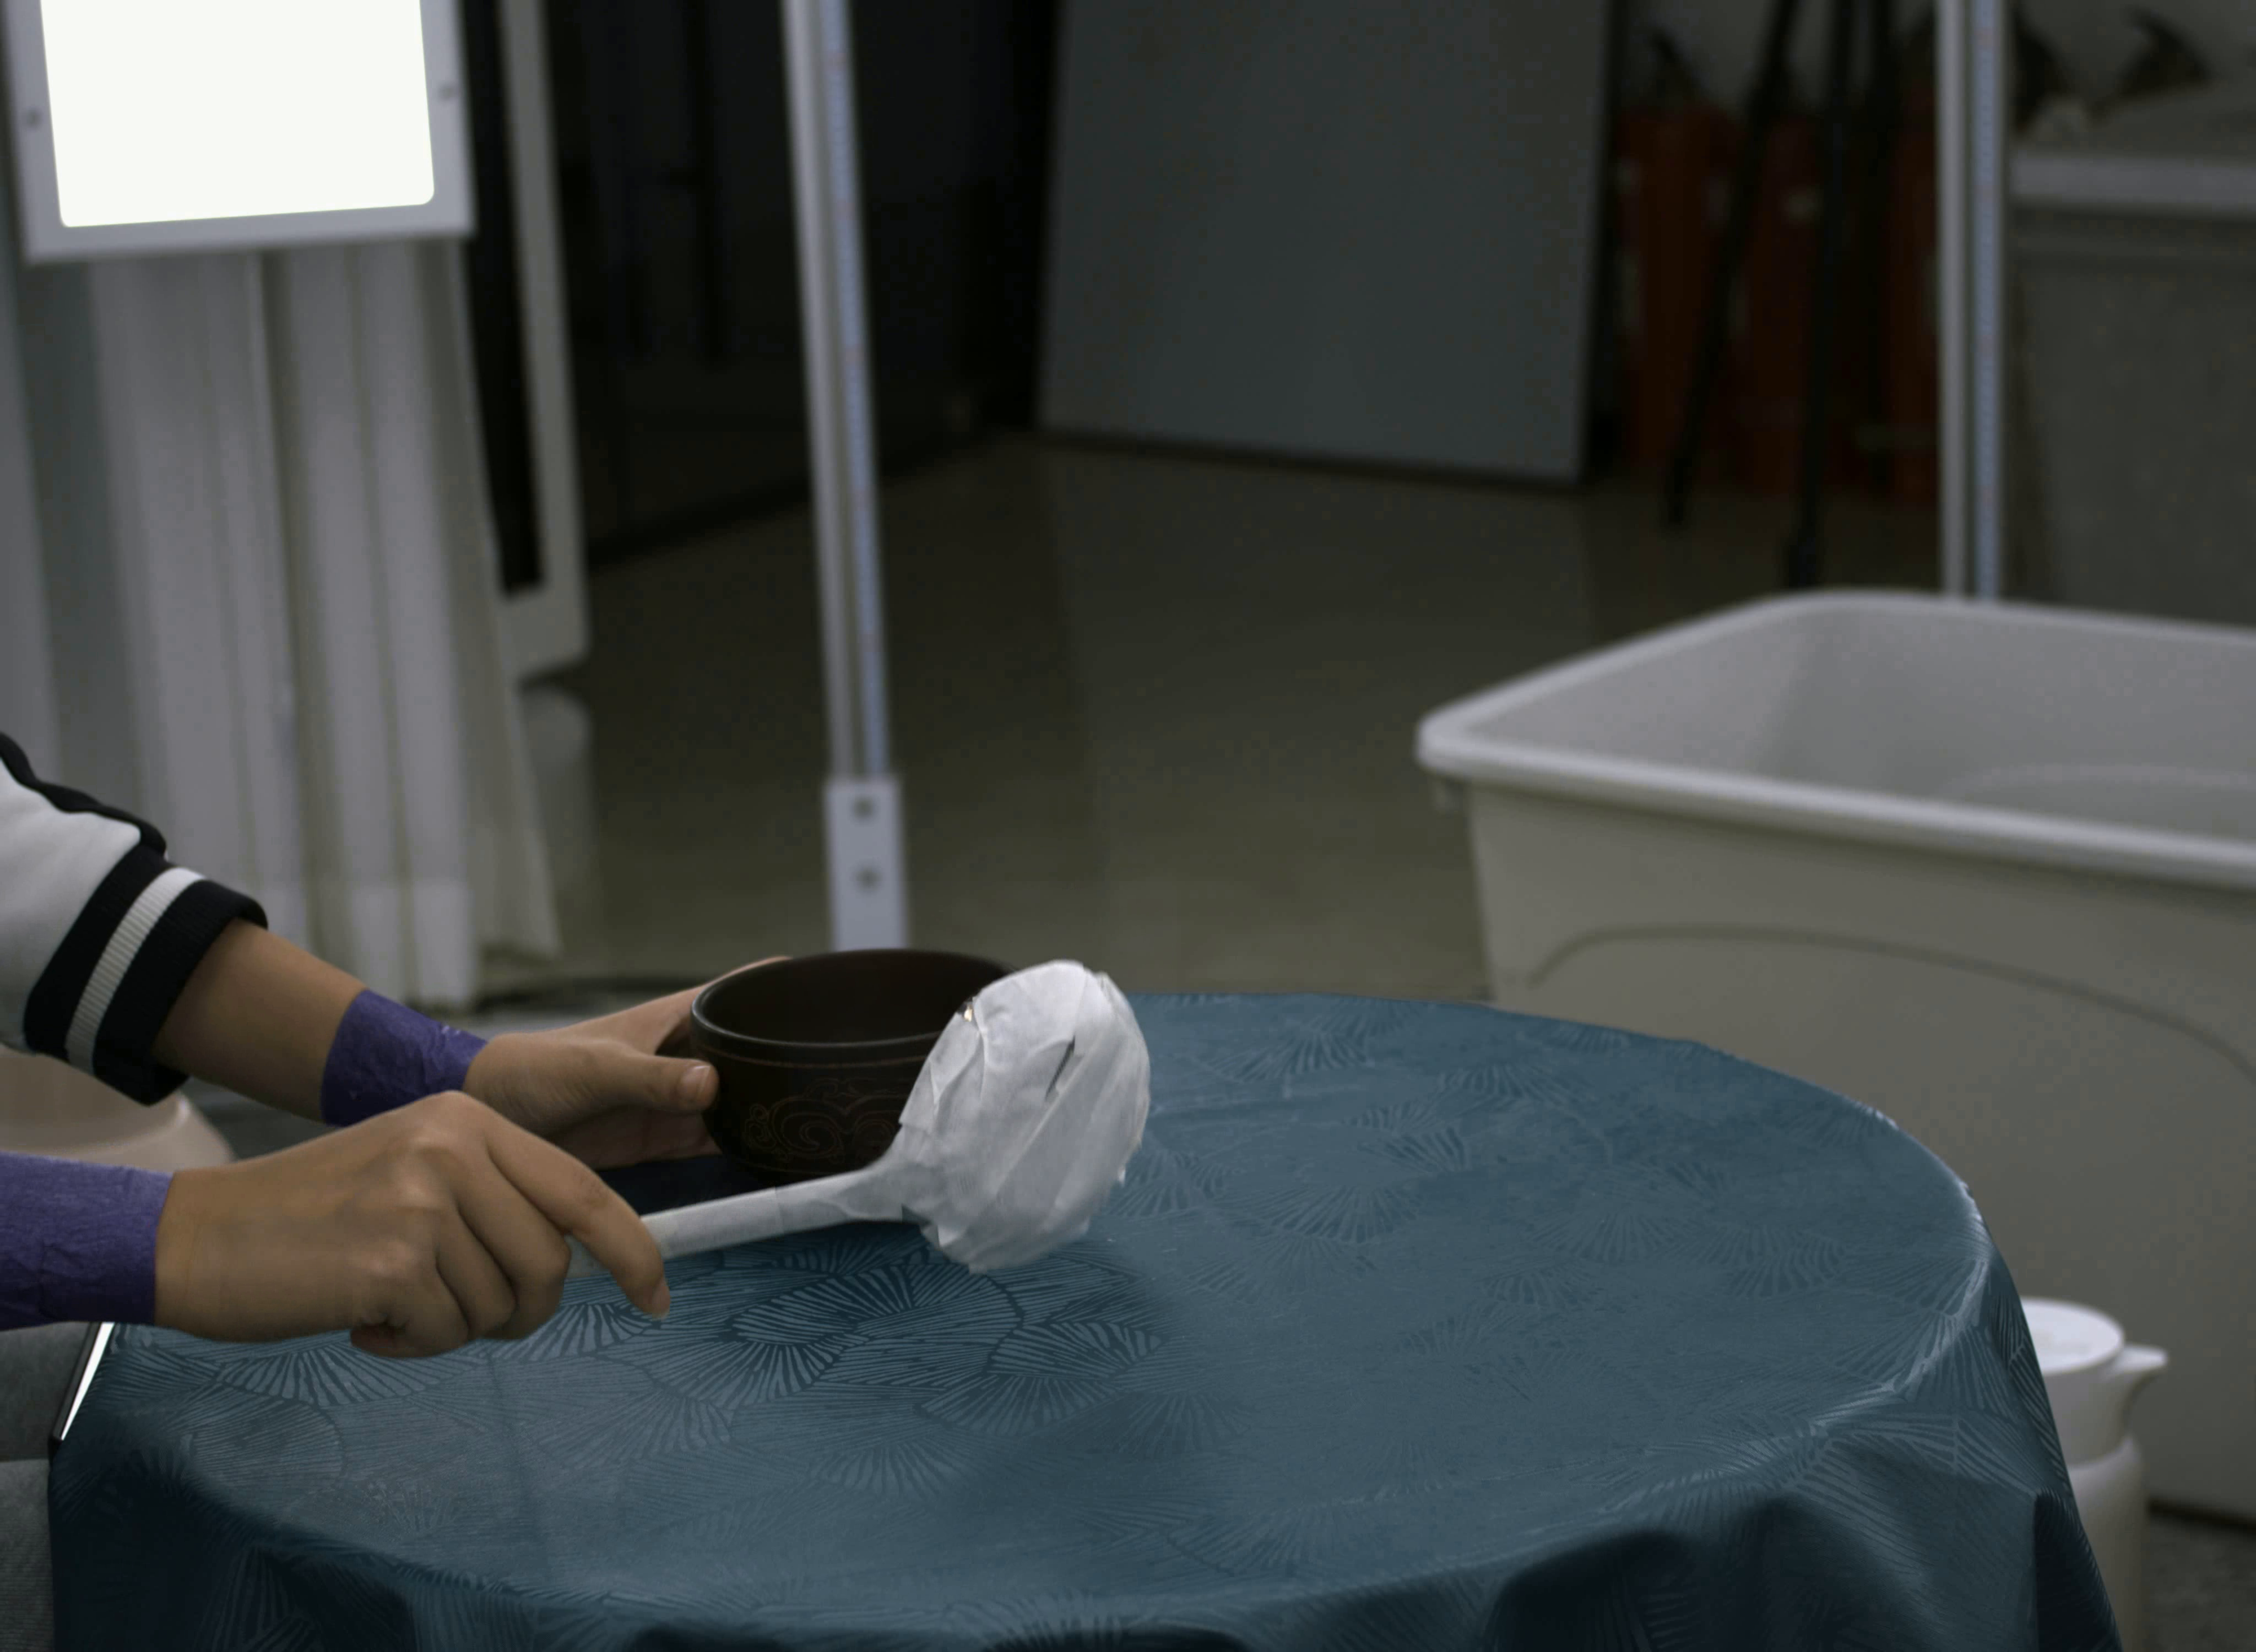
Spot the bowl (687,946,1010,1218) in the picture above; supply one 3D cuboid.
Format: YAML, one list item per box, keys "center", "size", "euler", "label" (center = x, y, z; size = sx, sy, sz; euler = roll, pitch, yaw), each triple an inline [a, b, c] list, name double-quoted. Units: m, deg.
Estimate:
- center: [-0.086, 0.088, 1.778]
  size: [0.116, 0.070, 0.118]
  euler: [-4, 13, 0]
  label: "bowl"

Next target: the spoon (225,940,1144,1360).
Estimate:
- center: [-0.125, 0.107, 1.567]
  size: [0.274, 0.101, 0.060]
  euler: [-14, 24, 1]
  label: "spoon"
